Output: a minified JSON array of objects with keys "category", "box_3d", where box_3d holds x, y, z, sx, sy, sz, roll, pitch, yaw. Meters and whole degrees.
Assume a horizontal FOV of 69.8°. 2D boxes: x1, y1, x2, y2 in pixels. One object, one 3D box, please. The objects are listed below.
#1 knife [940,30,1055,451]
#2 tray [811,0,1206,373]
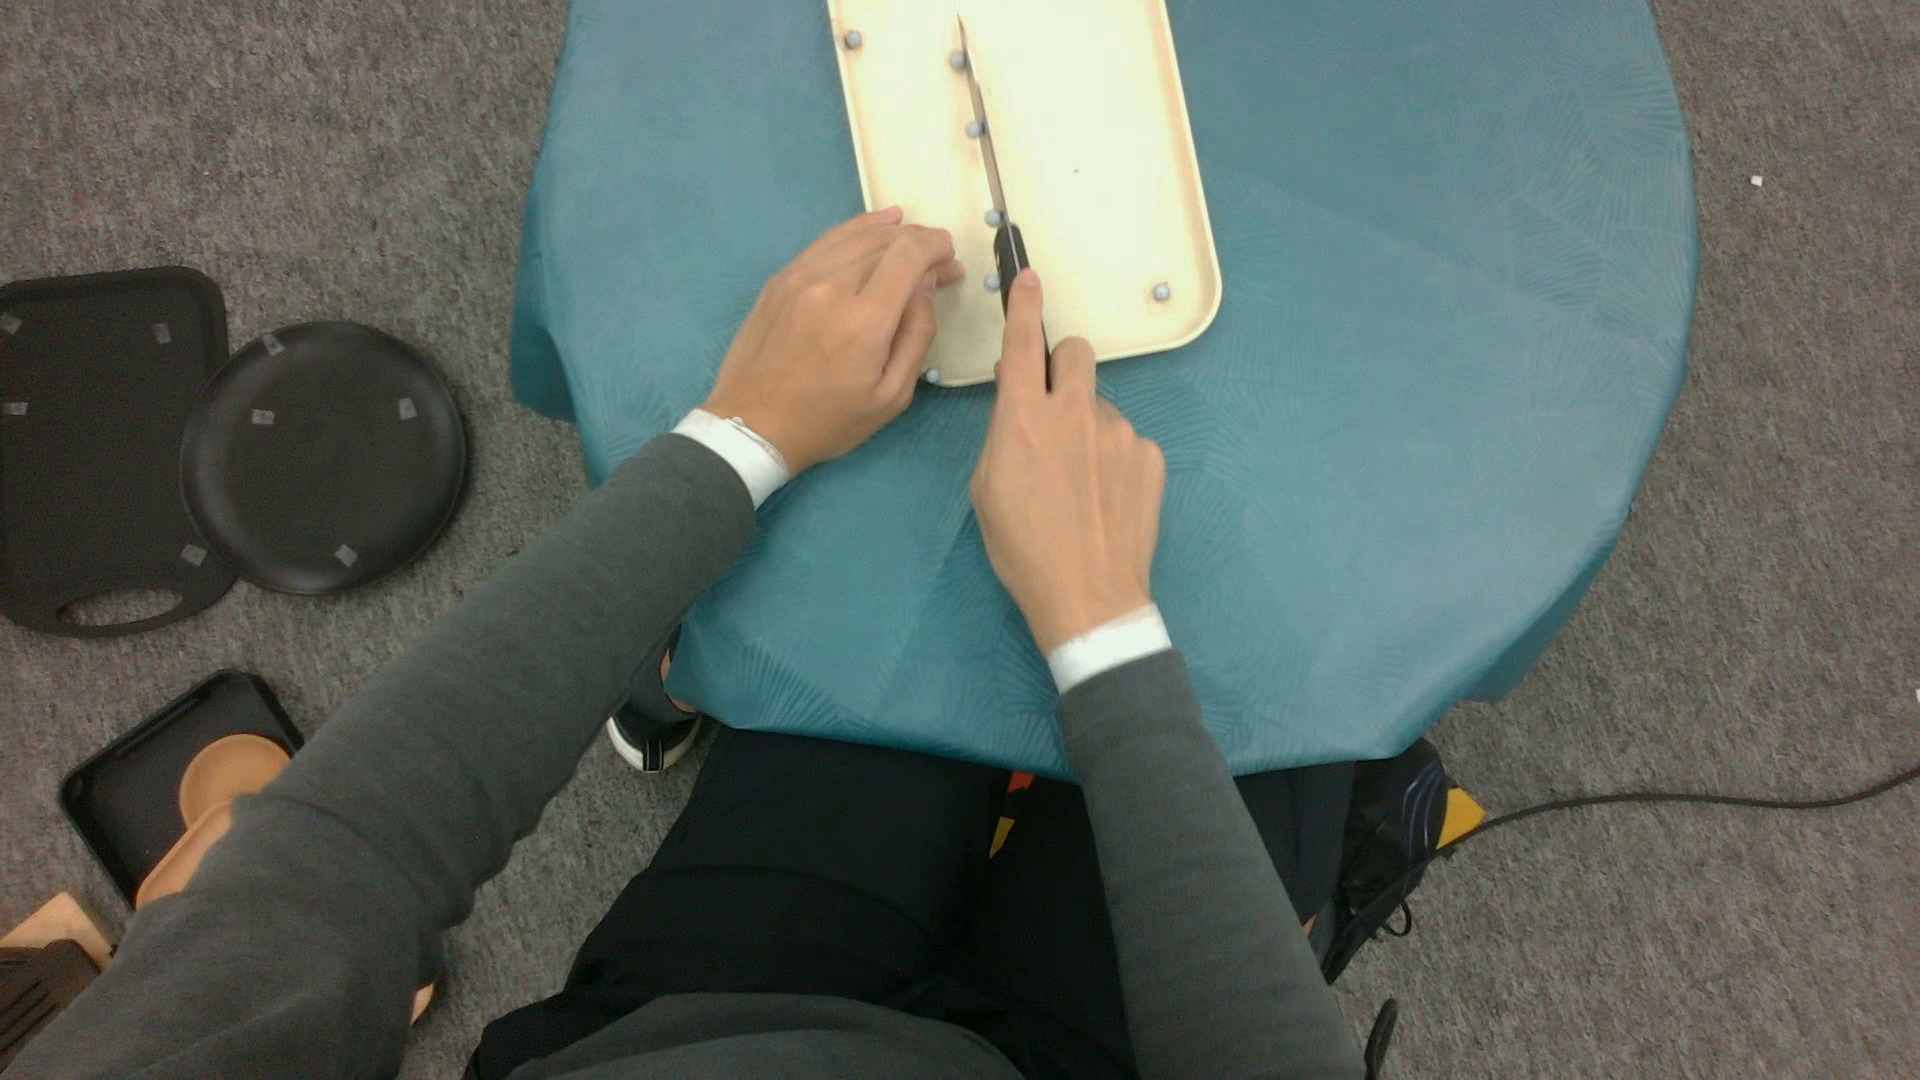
[{"category":"knife","box_3d":[0.014,-0.155,0.676,0.016,0.024,0.238,-9,72,-11]},{"category":"tray","box_3d":[0.023,-0.208,0.702,0.171,0.017,0.240,-10,84,-5]}]
